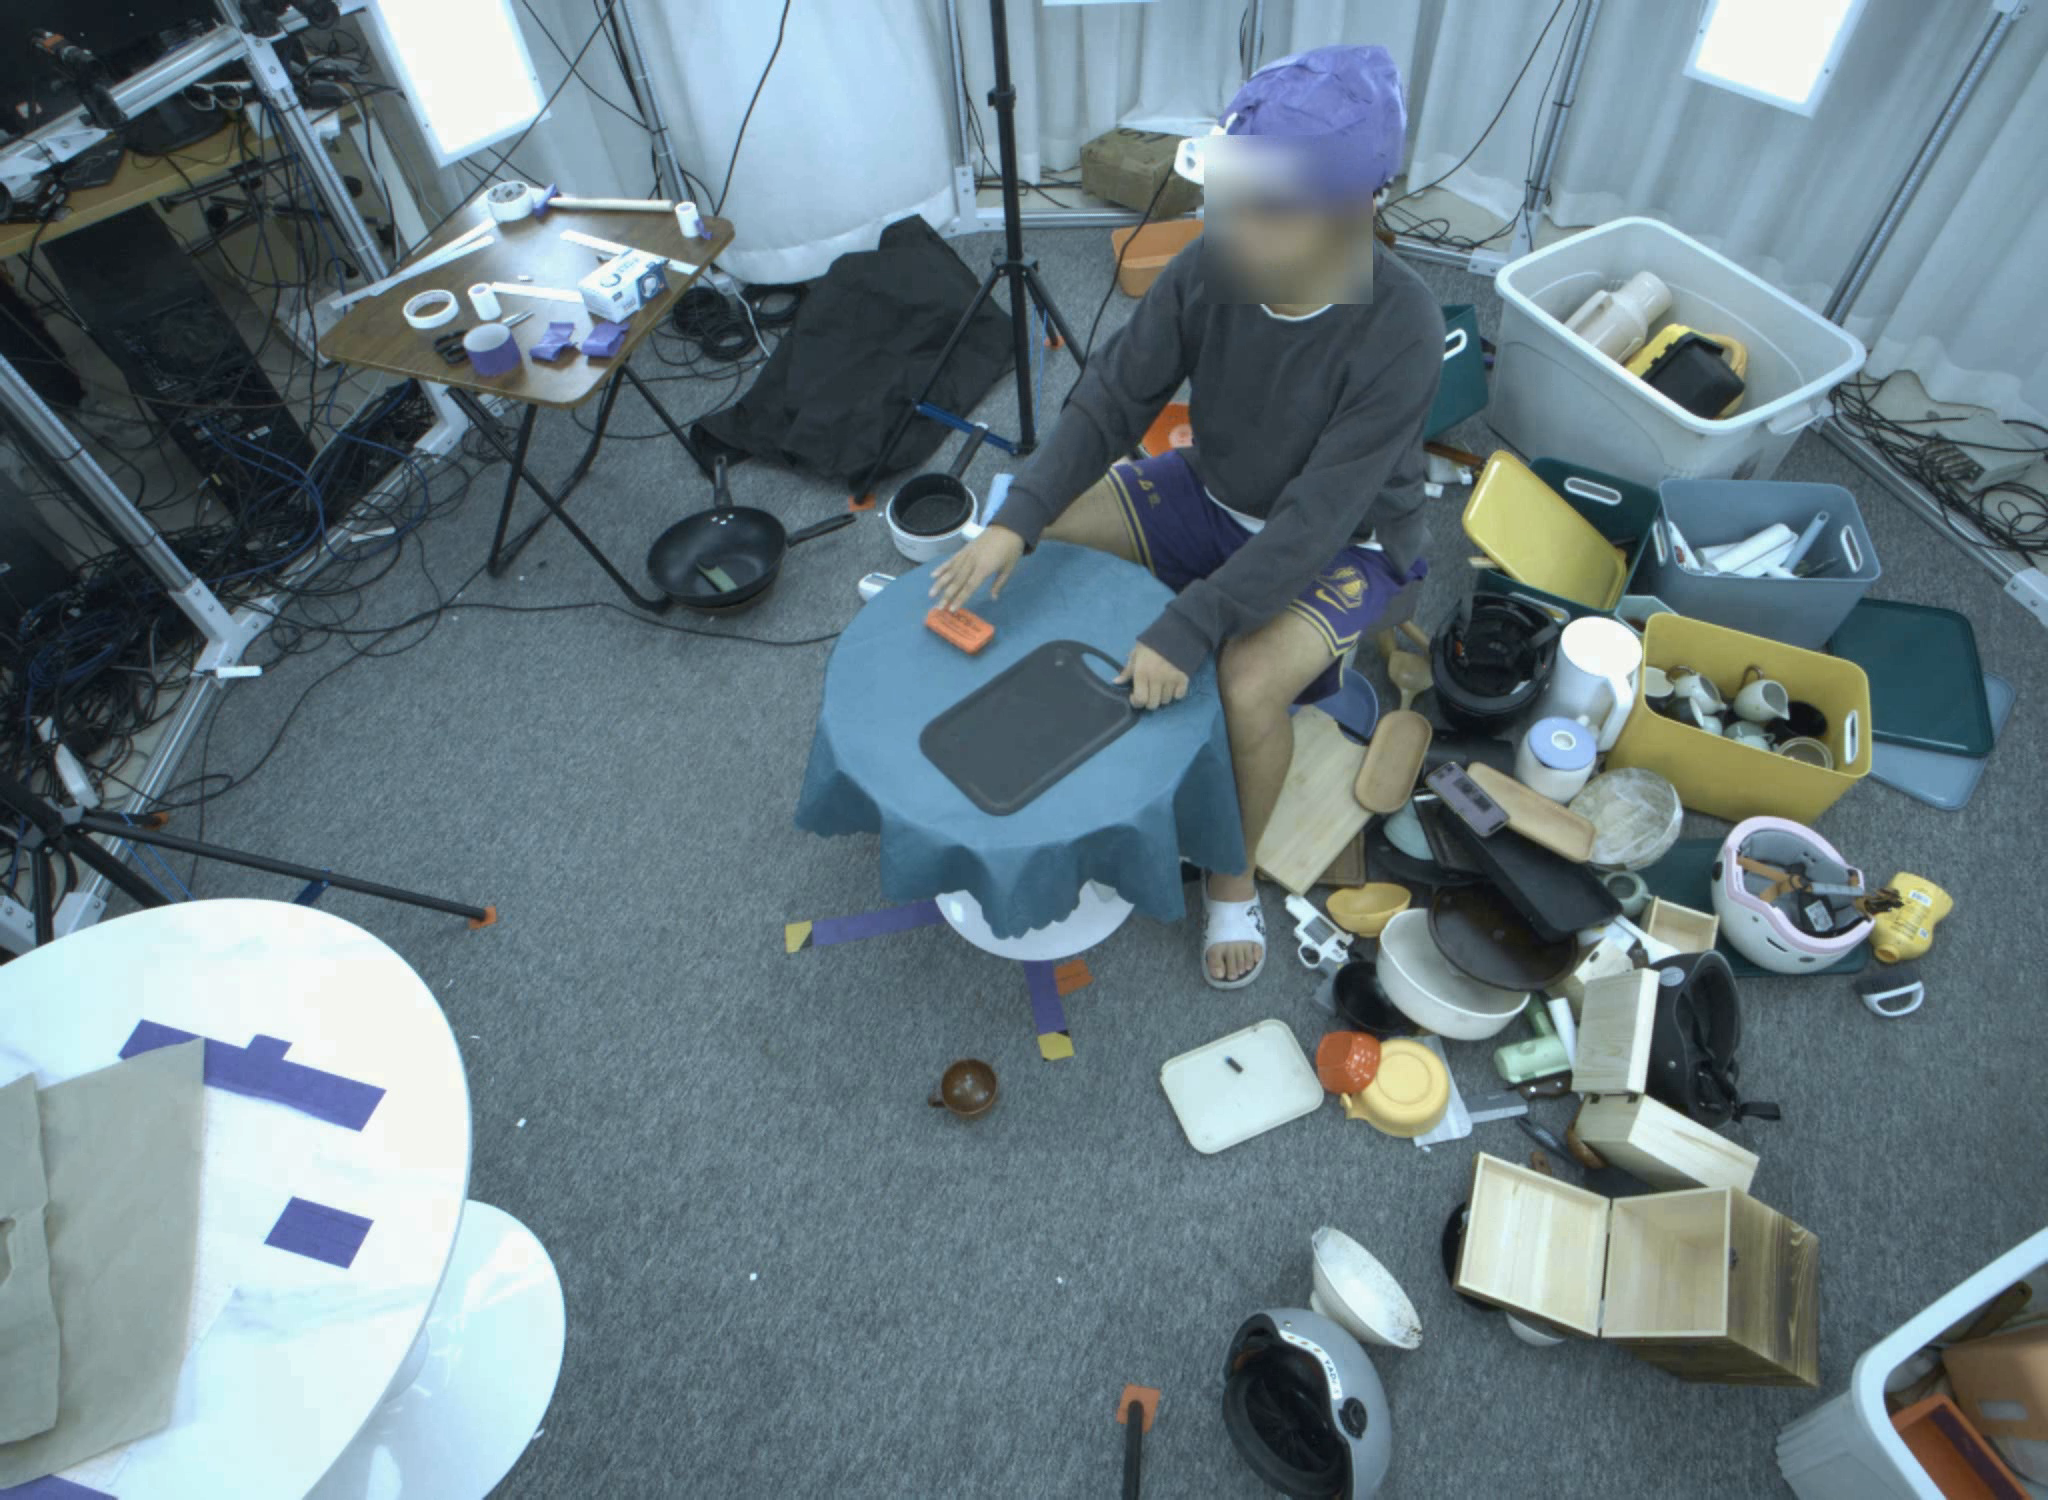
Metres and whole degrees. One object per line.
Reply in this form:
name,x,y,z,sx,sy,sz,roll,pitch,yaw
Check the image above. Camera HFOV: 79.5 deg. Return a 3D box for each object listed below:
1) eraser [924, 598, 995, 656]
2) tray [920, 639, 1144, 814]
eraser,-0.101,-0.193,1.912,0.106,0.023,0.059,35,64,22
tray,0.018,-0.047,1.819,0.328,0.010,0.207,-36,61,-21
